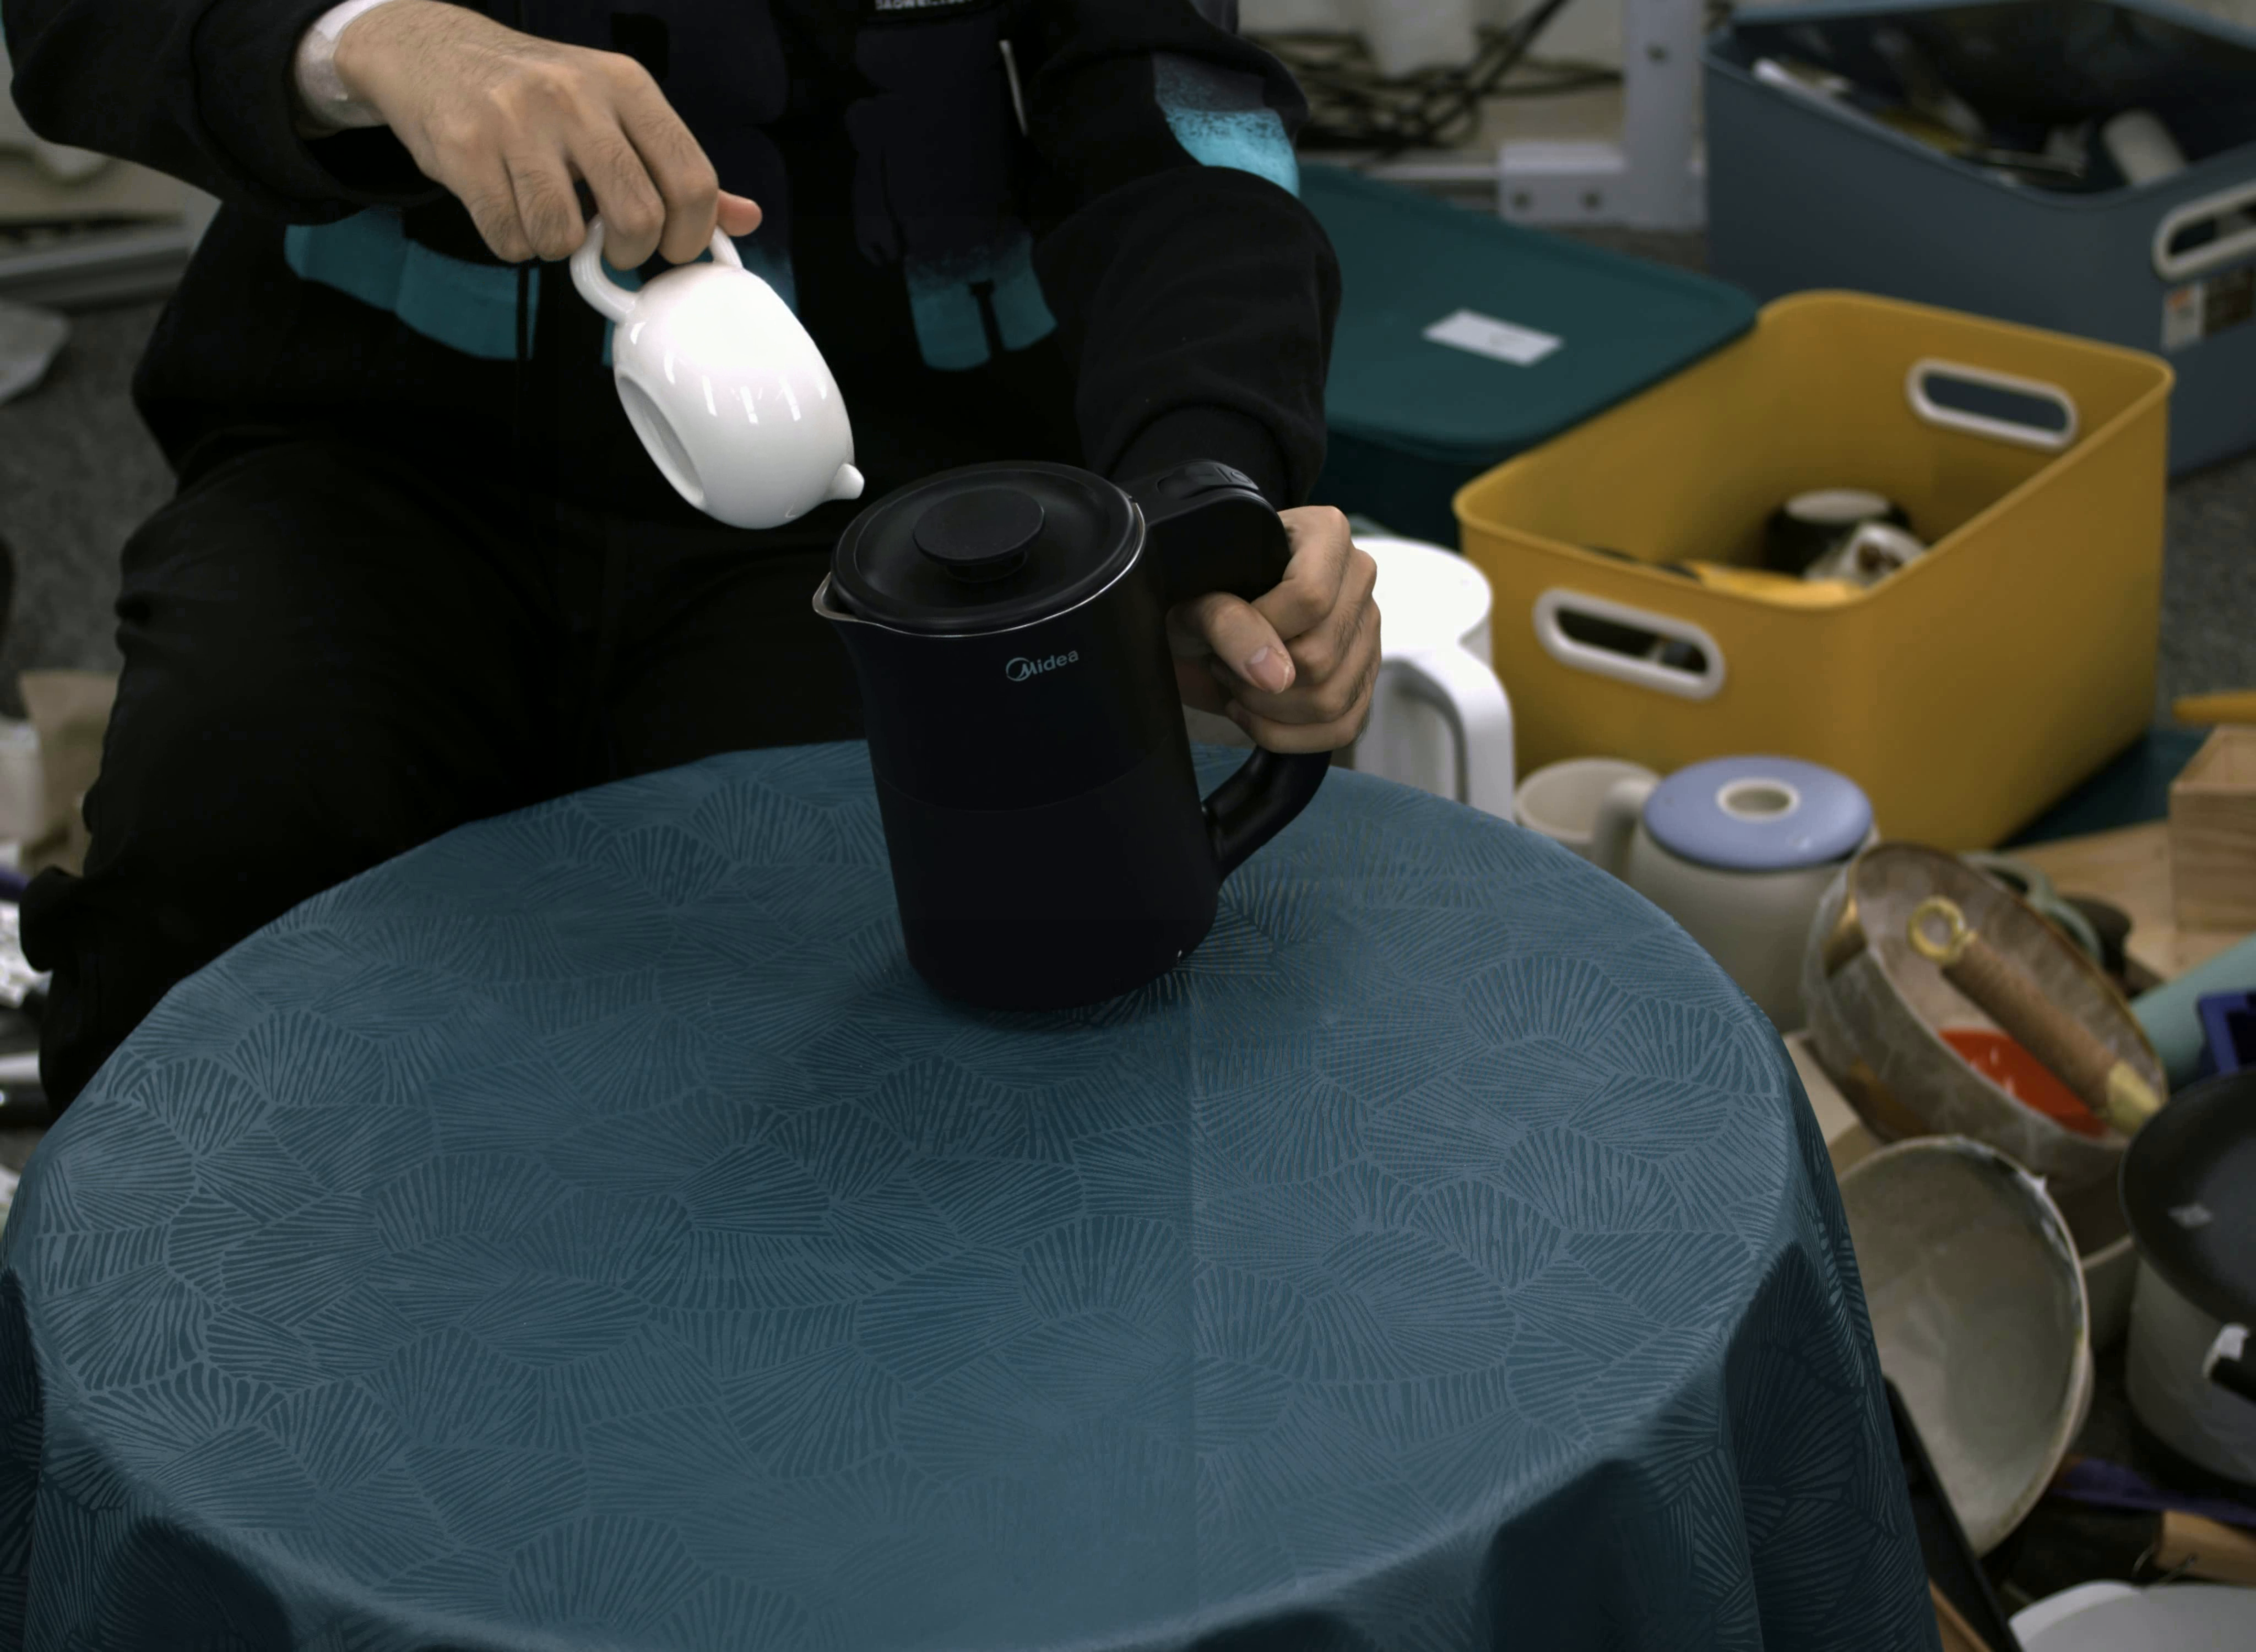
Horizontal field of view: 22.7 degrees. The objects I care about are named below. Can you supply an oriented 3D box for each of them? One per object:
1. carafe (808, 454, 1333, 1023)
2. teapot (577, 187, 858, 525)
[{"bbox_3d":[-0.016,-0.043,1.957,0.172,0.171,0.115,-22,32,-14],"label":"carafe"},{"bbox_3d":[-0.137,-0.153,1.865,0.057,0.126,0.093,-32,21,-15],"label":"teapot"}]
